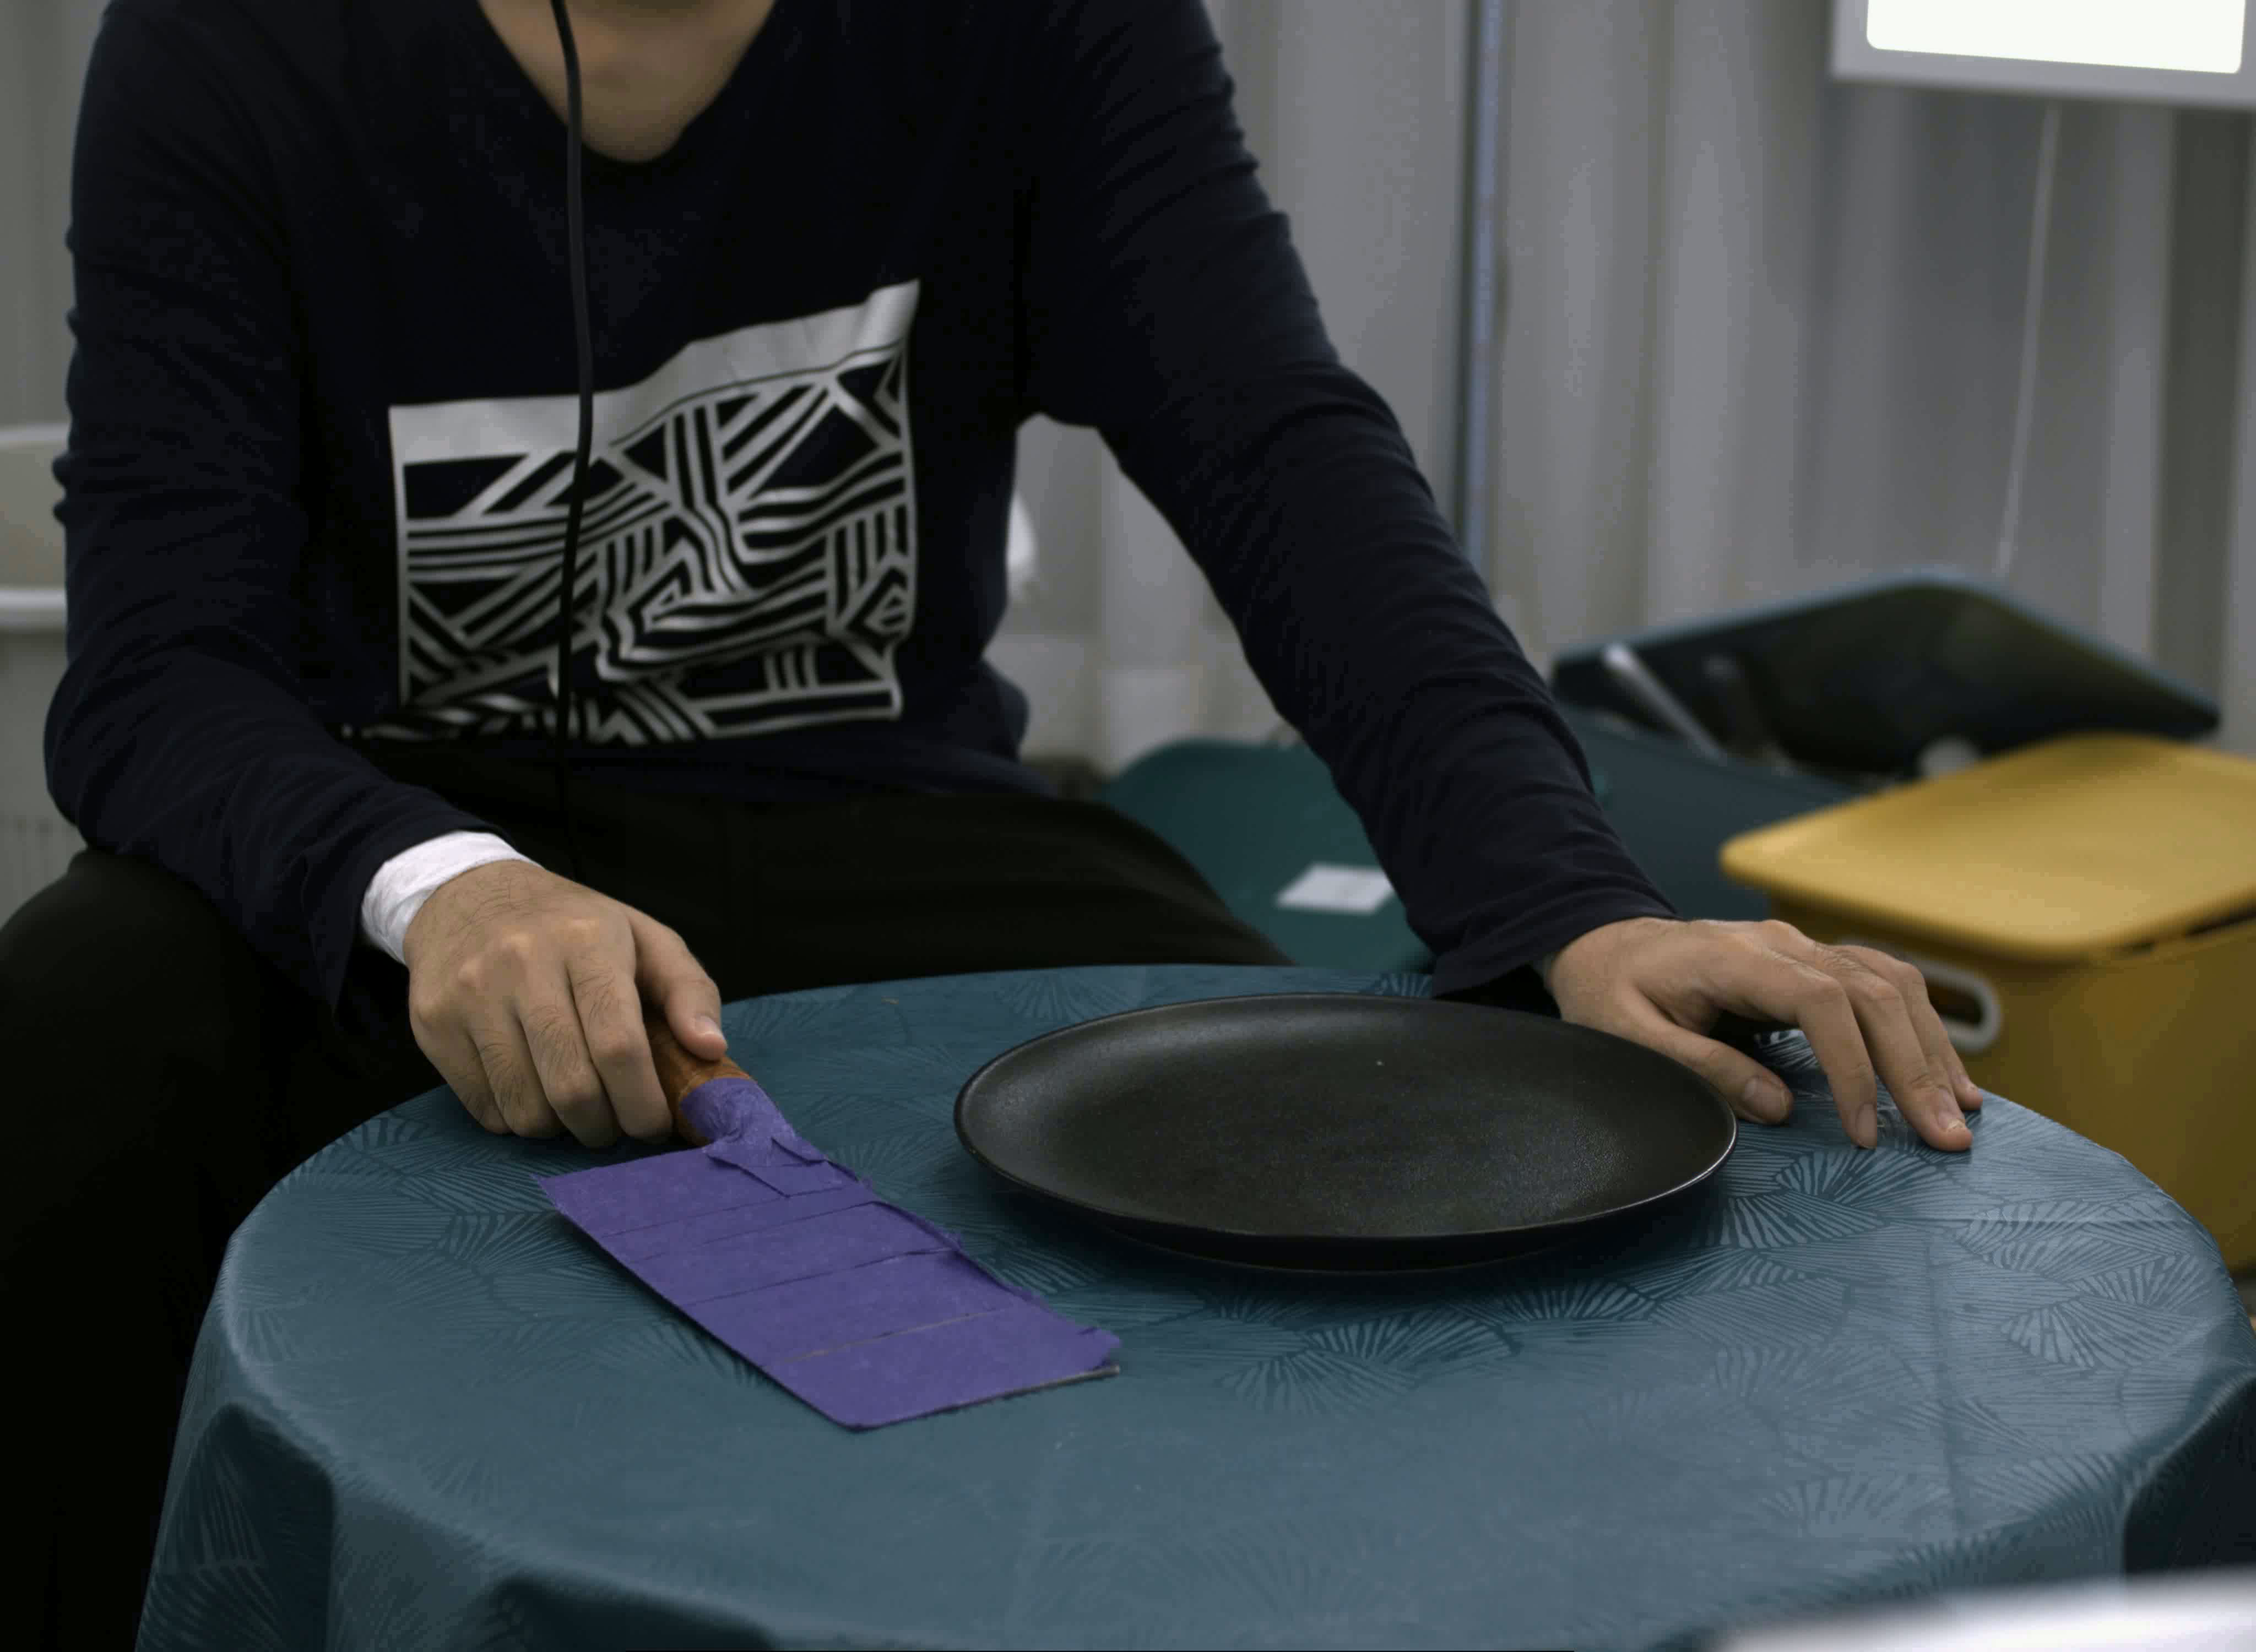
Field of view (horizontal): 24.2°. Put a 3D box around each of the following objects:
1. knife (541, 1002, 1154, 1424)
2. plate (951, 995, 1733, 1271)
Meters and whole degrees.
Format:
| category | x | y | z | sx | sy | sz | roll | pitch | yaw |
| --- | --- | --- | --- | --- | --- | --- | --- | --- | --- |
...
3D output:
| category | x | y | z | sx | sy | sz | roll | pitch | yaw |
| --- | --- | --- | --- | --- | --- | --- | --- | --- | --- |
| knife | -0.116 | 0.112 | 1.573 | 0.104 | 0.032 | 0.311 | -9 | 18 | -31 |
| plate | 0.066 | 0.097 | 1.639 | 0.243 | 0.023 | 0.243 | 1 | 15 | 0 |
